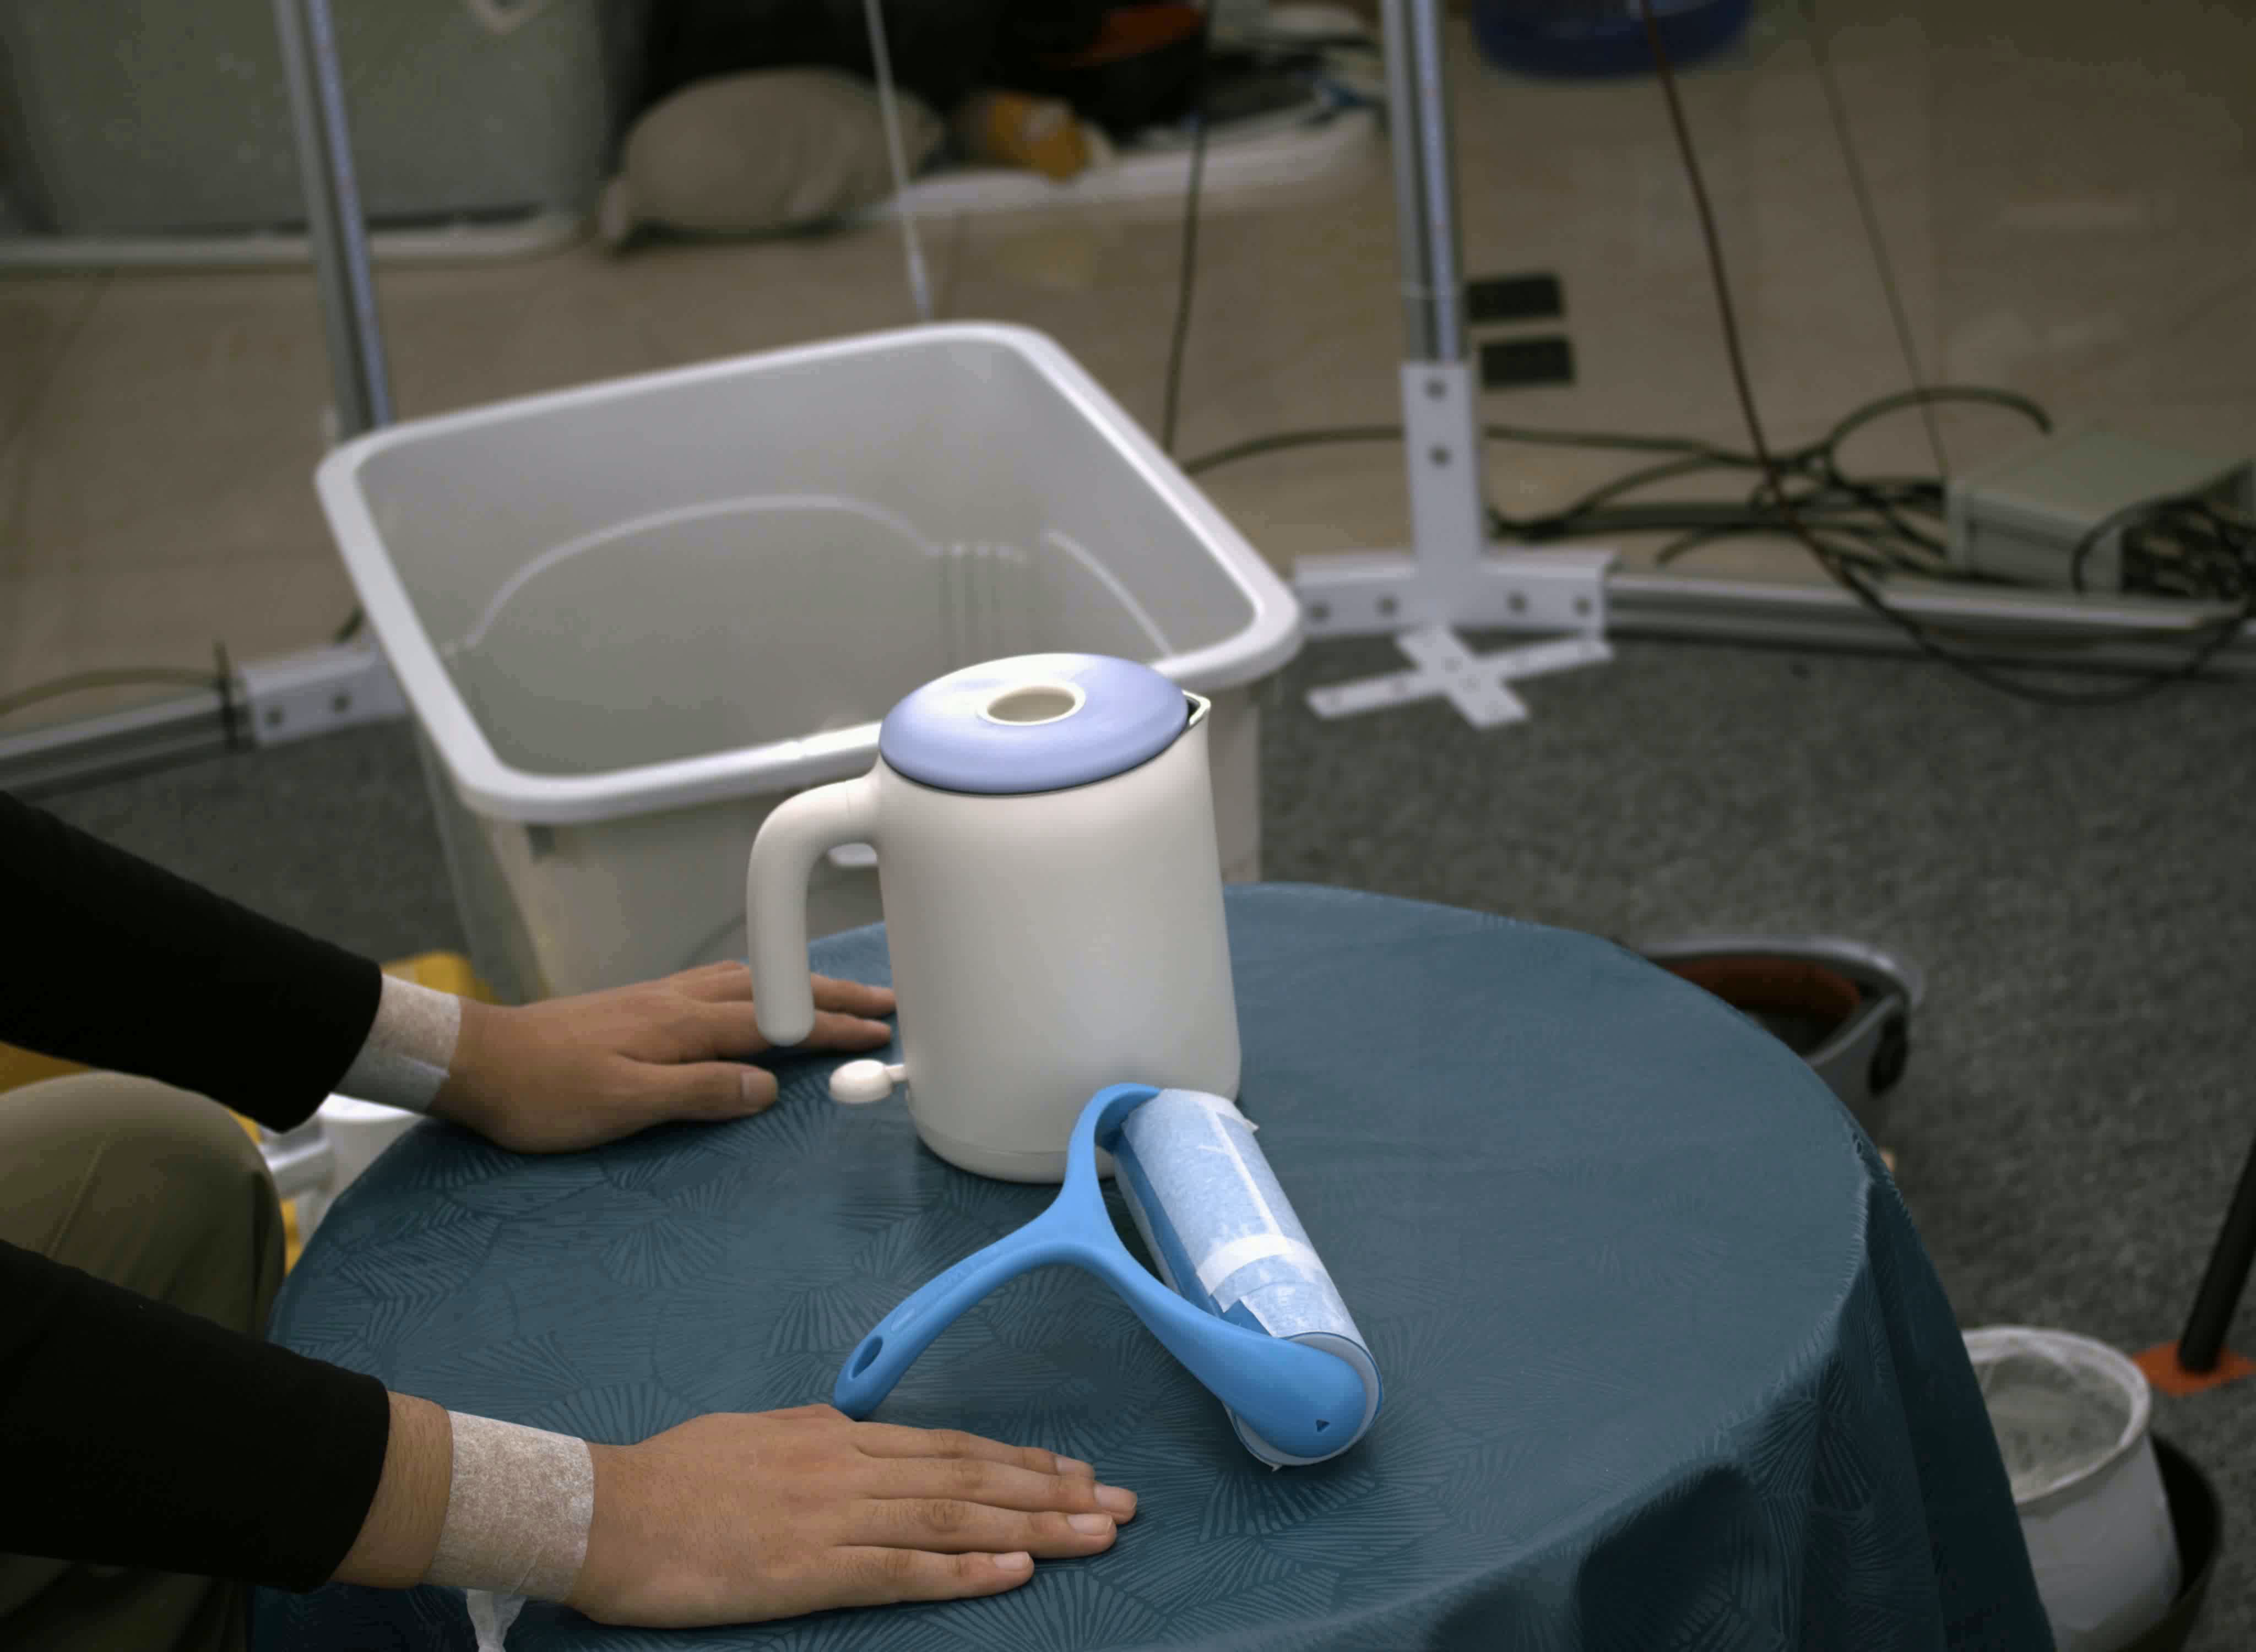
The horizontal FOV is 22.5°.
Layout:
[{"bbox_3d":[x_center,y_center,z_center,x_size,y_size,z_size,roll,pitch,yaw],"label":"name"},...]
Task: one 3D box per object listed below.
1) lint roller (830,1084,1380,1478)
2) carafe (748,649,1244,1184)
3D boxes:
[{"bbox_3d":[-0.018,0.168,2.020,0.180,0.069,0.225,-7,28,-13],"label":"lint roller"},{"bbox_3d":[-0.052,0.039,2.170,0.190,0.185,0.130,-11,25,-5],"label":"carafe"}]
